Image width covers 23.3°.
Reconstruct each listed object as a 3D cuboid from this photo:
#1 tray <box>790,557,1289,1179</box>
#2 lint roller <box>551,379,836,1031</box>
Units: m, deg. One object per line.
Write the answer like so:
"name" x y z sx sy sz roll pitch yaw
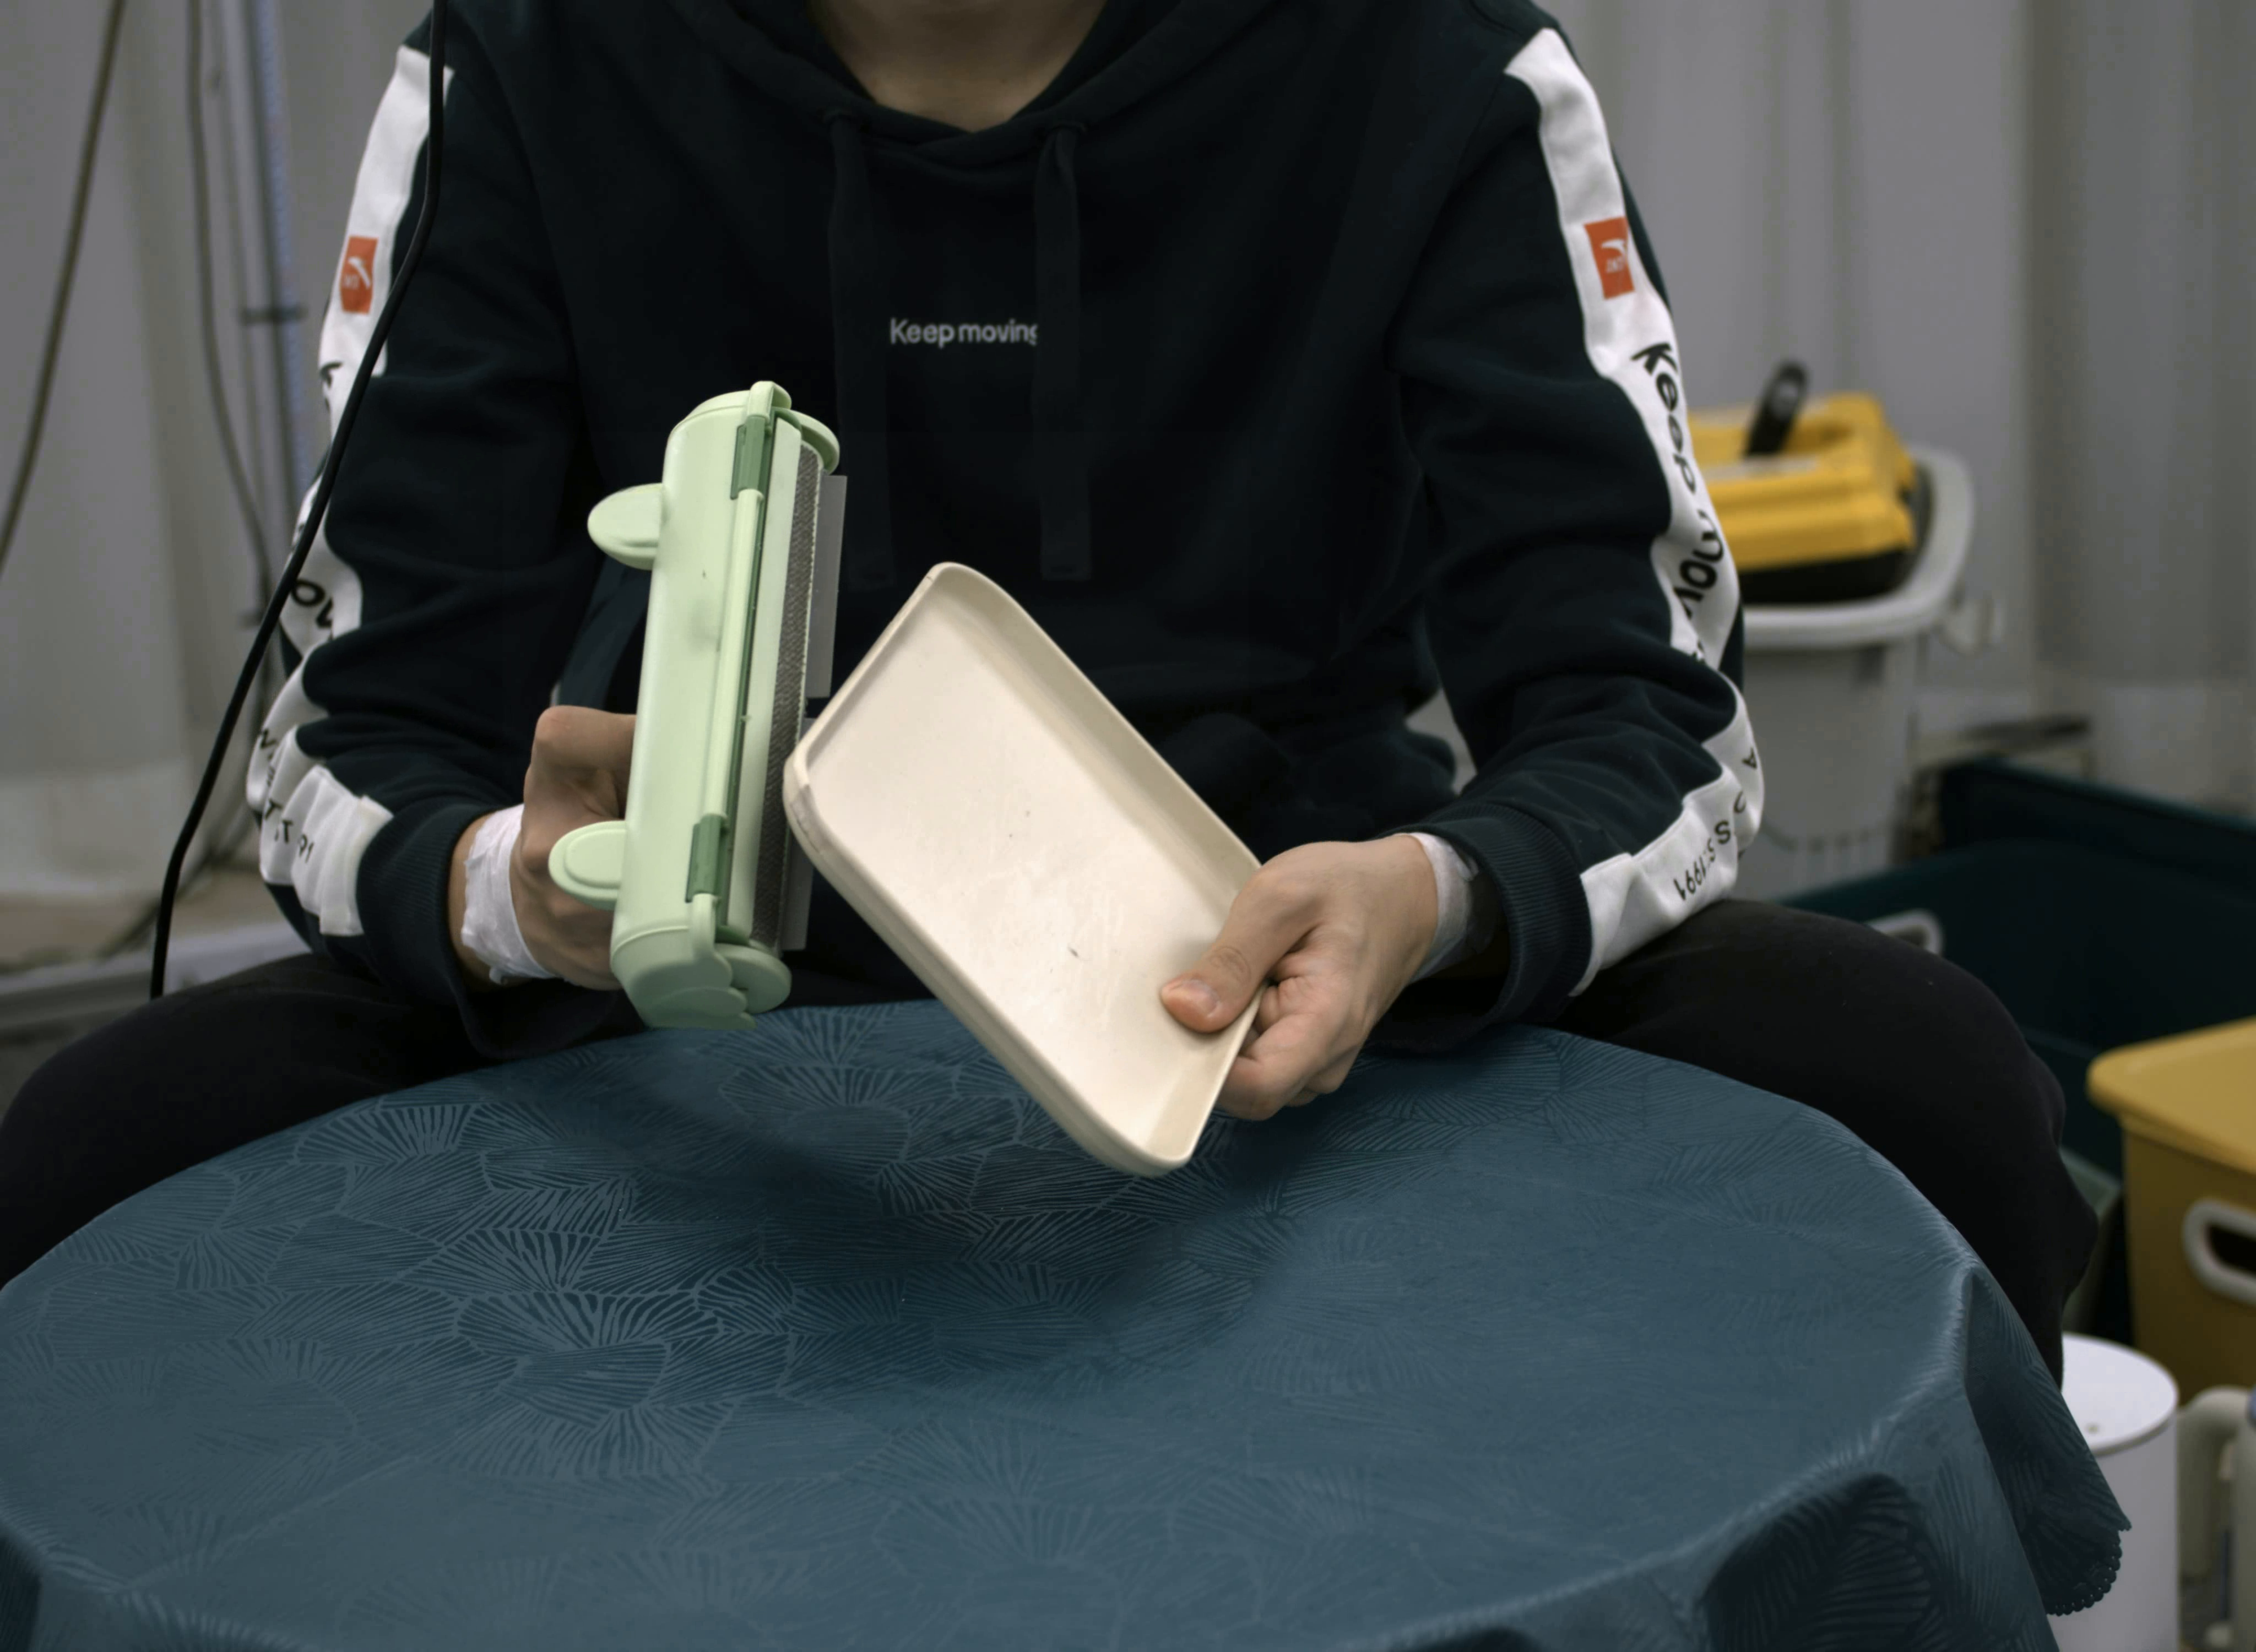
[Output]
"tray" -0.026 0.011 1.691 0.017 0.171 0.241 -40 8 21
"lint roller" -0.149 -0.017 1.700 0.081 0.201 0.182 13 -28 -19
